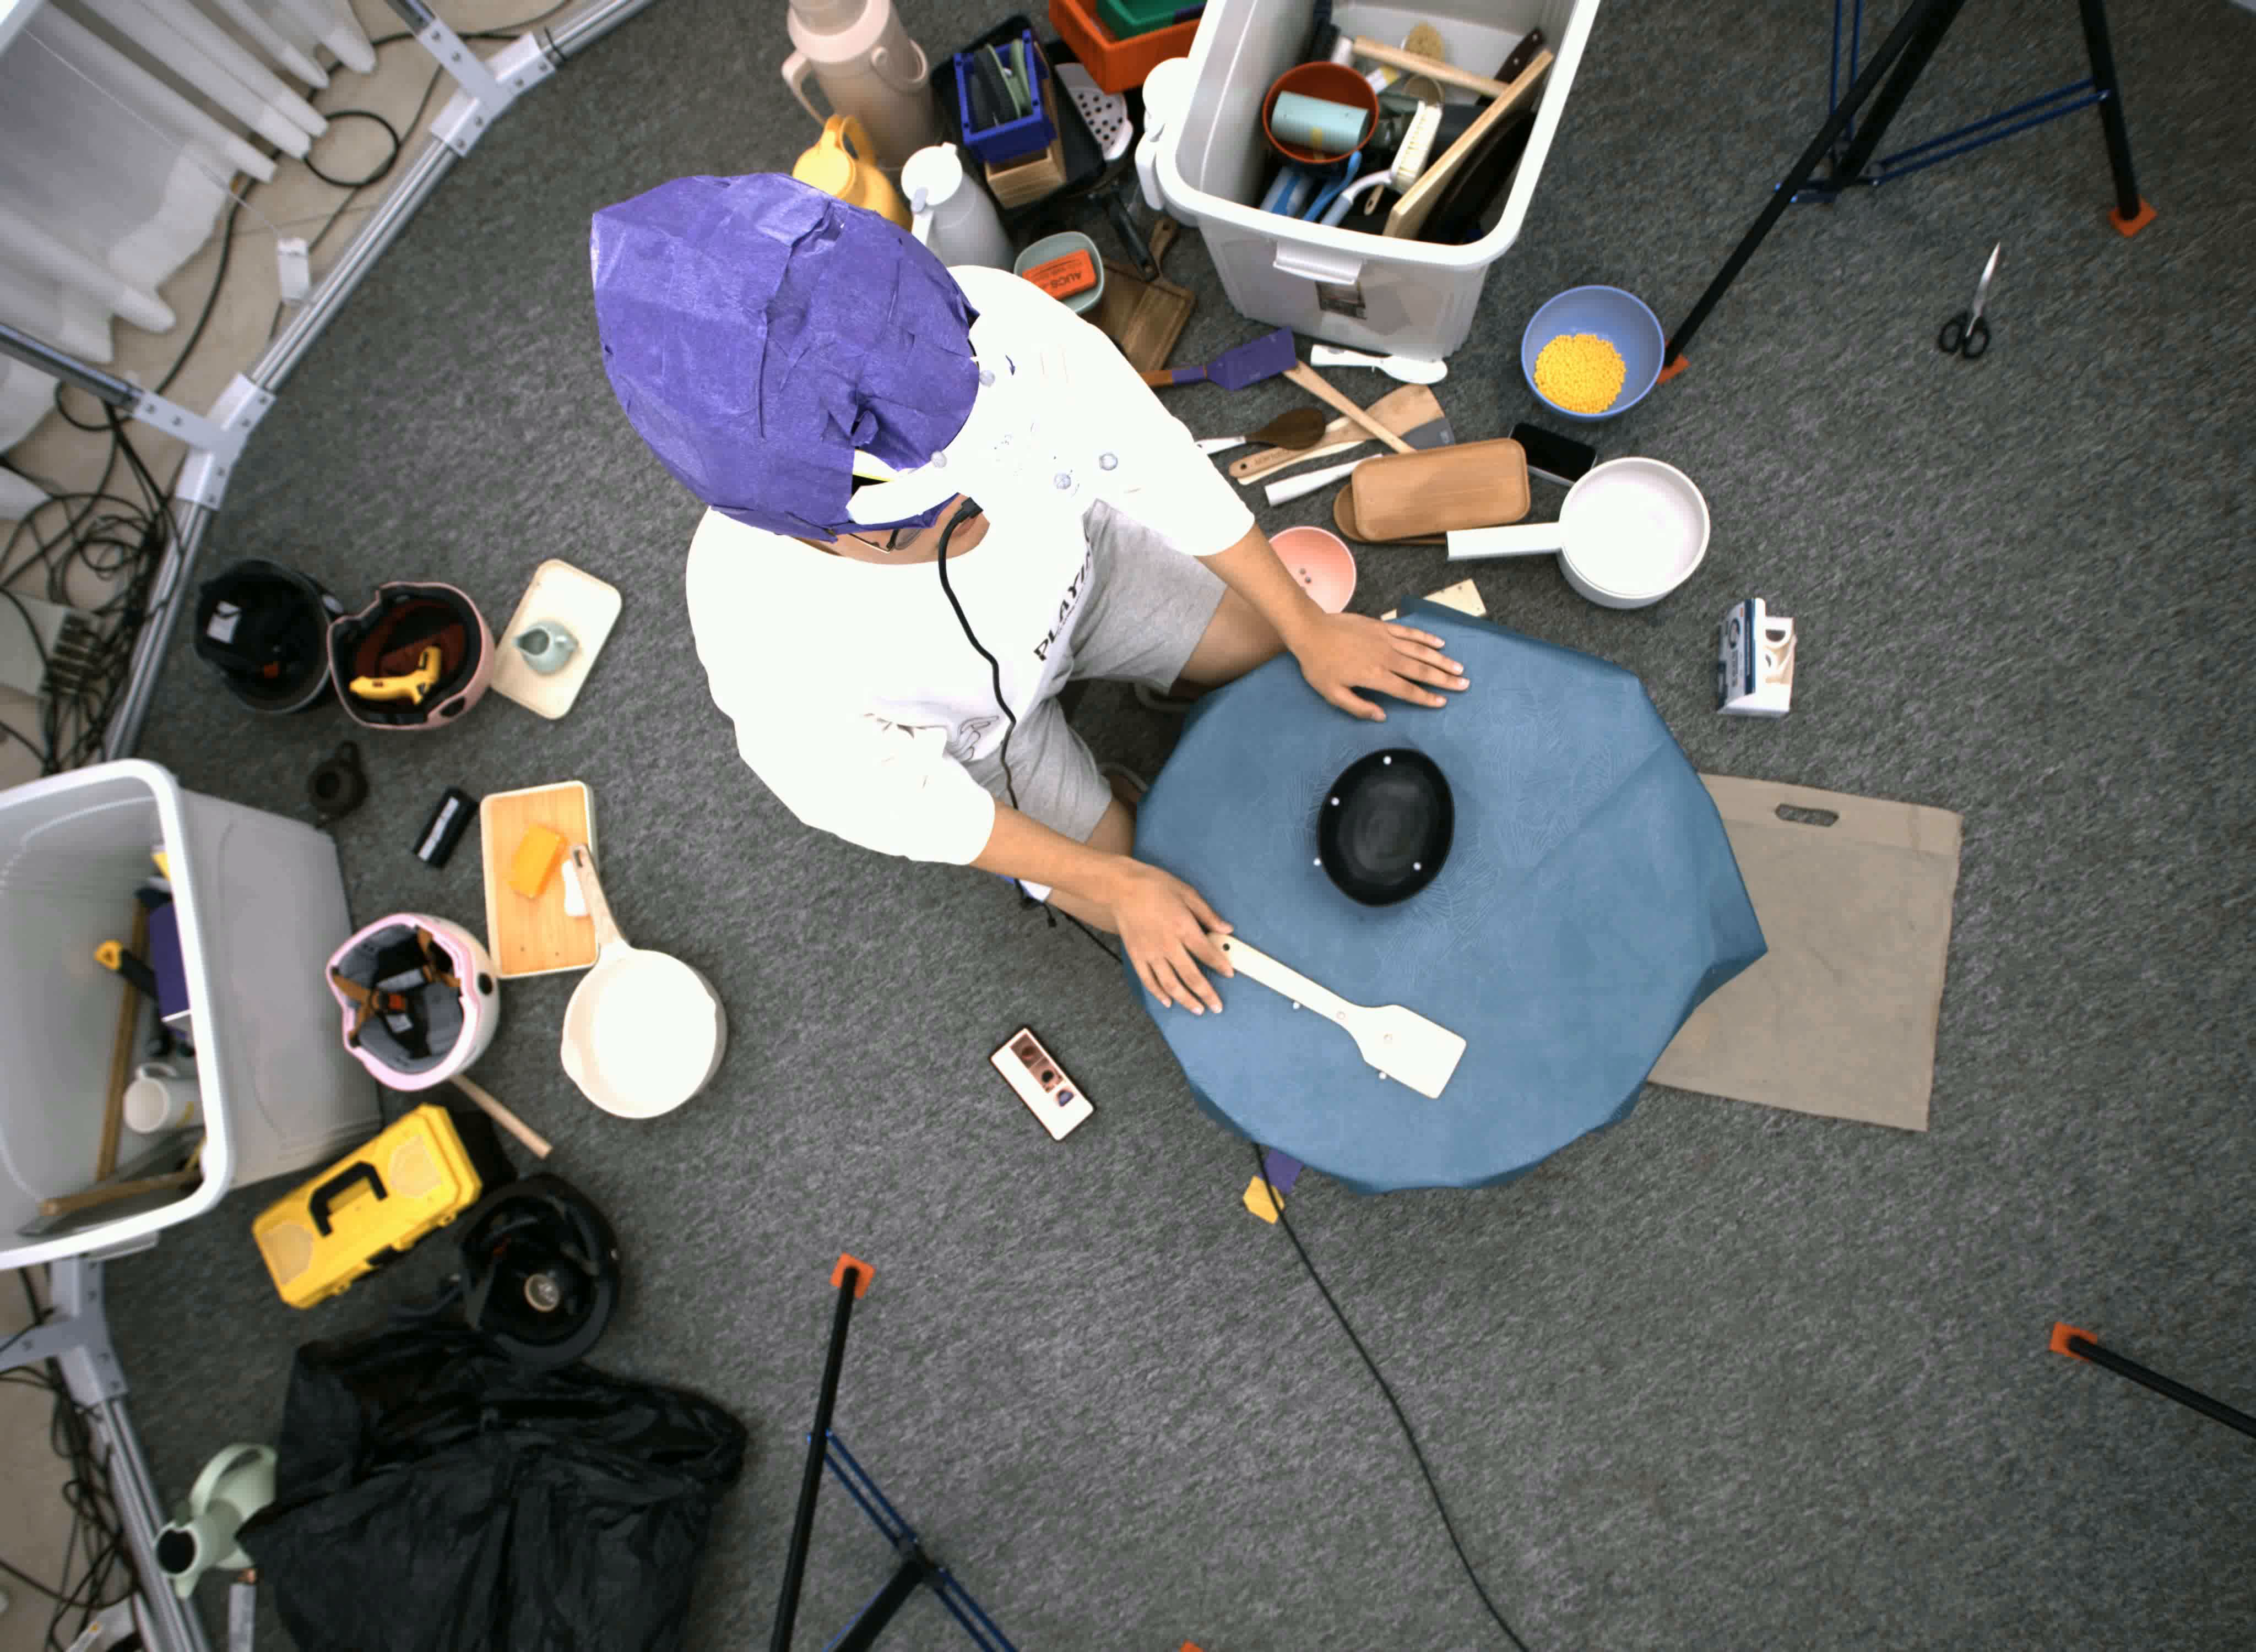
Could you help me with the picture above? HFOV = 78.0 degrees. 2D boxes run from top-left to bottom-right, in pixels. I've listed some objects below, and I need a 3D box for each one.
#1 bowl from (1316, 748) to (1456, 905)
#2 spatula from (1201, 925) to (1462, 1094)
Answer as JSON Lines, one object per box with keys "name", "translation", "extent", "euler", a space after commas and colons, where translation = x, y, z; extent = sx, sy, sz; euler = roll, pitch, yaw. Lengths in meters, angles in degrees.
{"name": "bowl", "translation": [0.268, 0.000, 1.432], "extent": [0.137, 0.067, 0.170], "euler": [18, 88, 12]}
{"name": "spatula", "translation": [0.207, 0.183, 1.460], "extent": [0.292, 0.010, 0.072], "euler": [28, 93, 10]}
